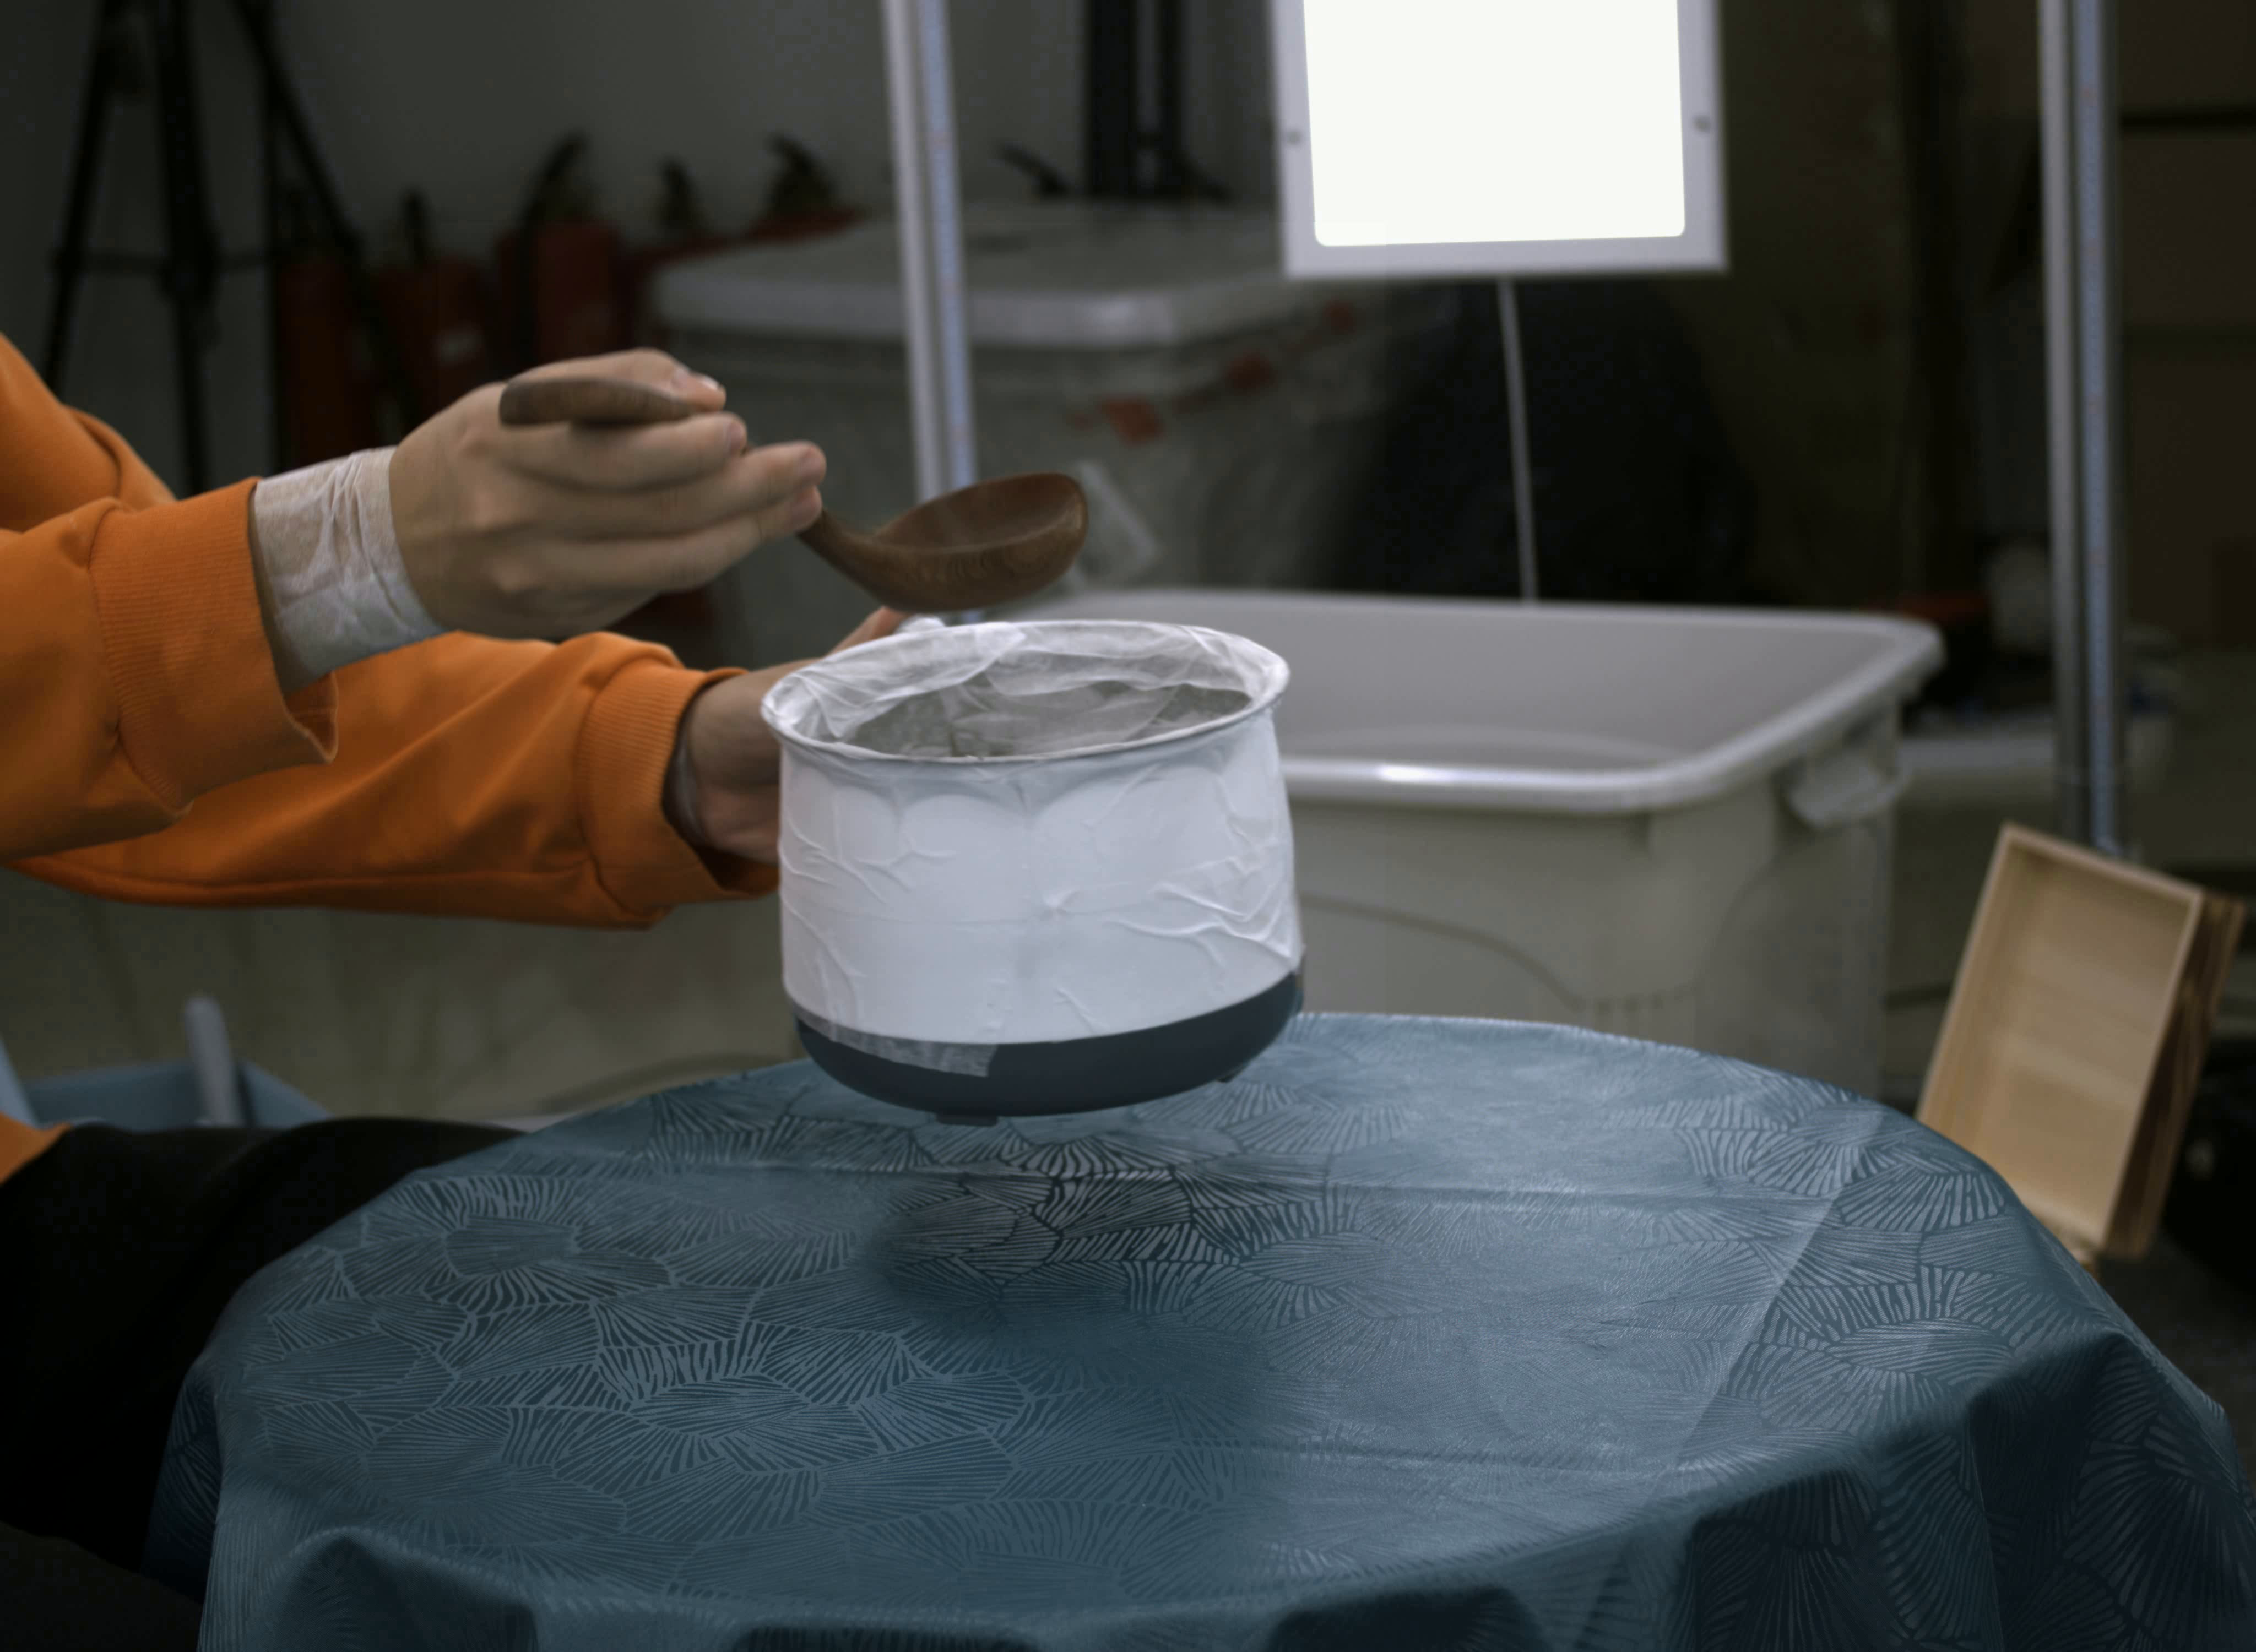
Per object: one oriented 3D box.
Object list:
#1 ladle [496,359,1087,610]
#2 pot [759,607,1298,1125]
[{"bbox_3d":[-0.104,-0.119,1.699,0.078,0.065,0.255,-8,-20,35],"label":"ladle"},{"bbox_3d":[-0.043,0.007,1.874,0.175,0.137,0.237,-10,17,-21],"label":"pot"}]
